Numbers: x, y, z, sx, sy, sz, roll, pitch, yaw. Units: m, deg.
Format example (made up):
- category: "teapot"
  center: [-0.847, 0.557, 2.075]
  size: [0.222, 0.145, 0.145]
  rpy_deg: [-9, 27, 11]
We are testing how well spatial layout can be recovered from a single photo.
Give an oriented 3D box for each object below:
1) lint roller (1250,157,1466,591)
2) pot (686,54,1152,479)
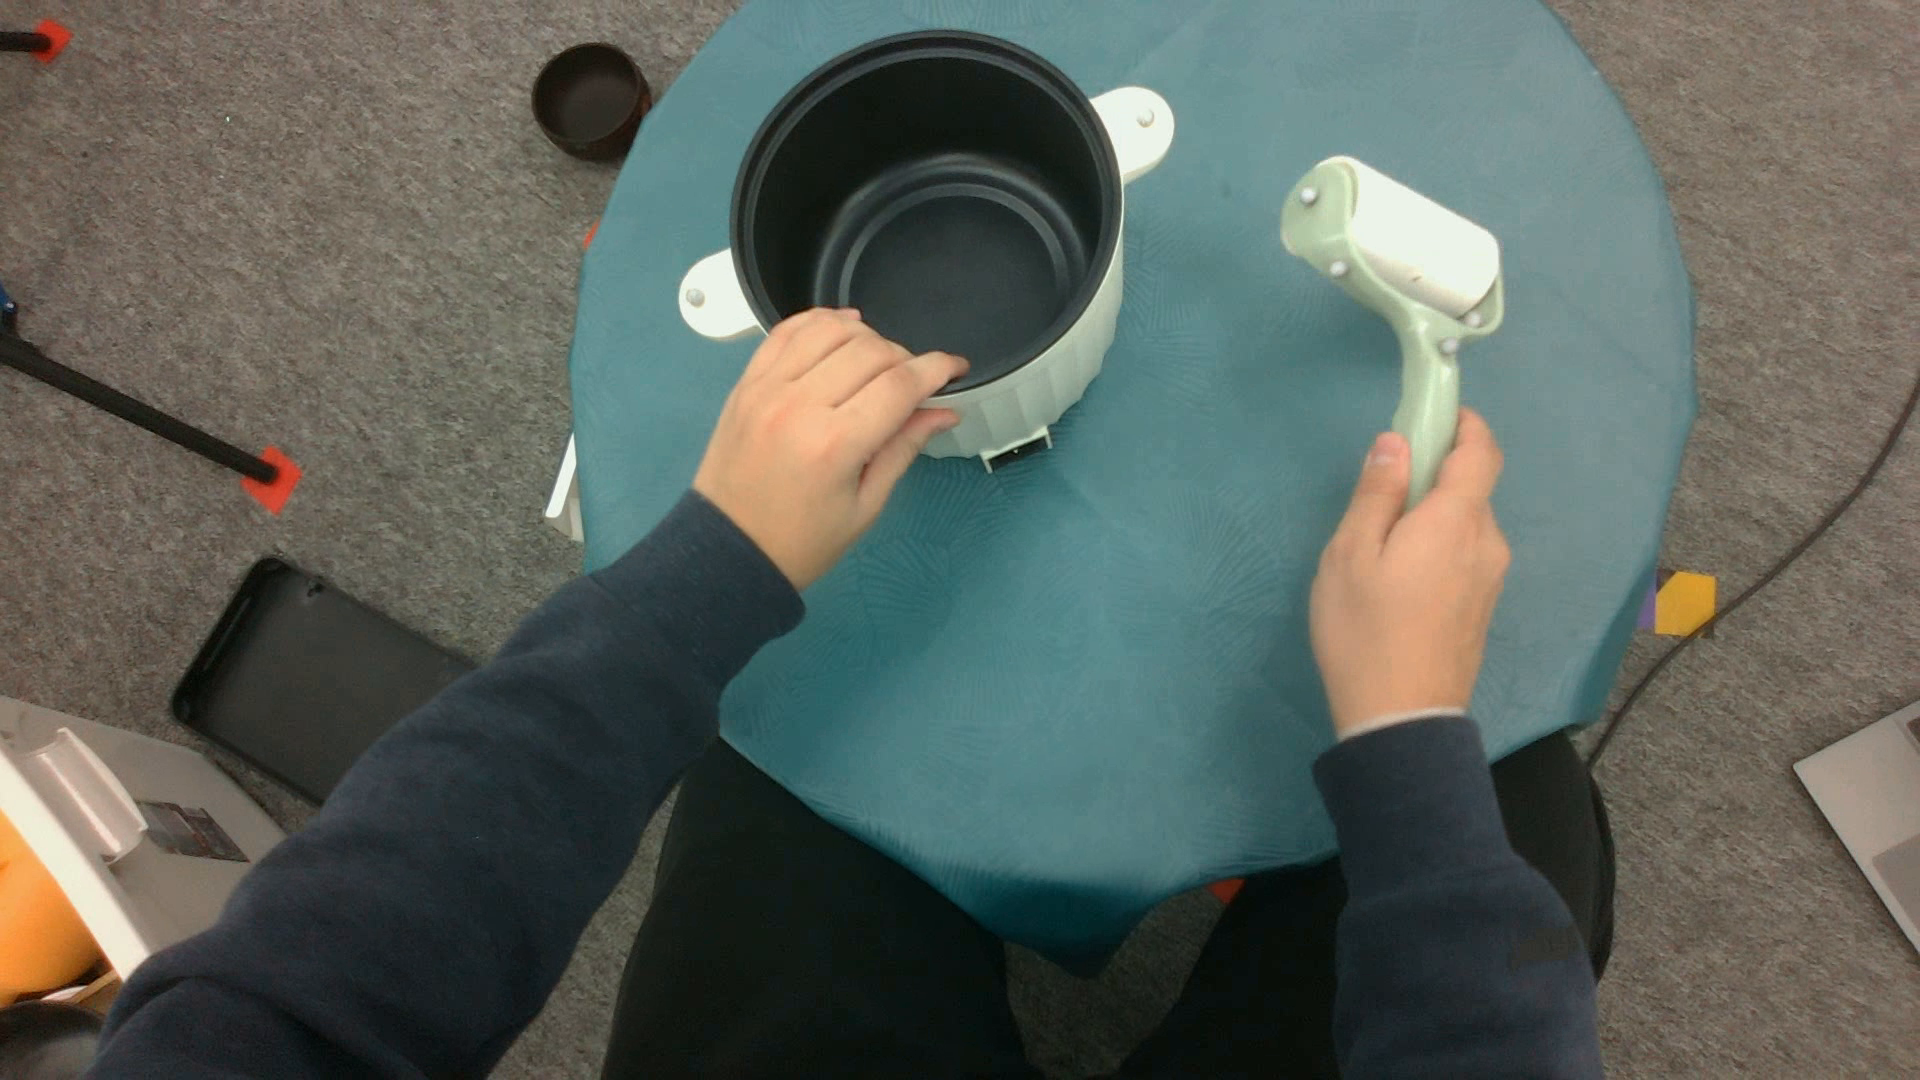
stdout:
- category: "lint roller"
  center: [0.191, -0.075, 0.636]
  size: [0.048, 0.117, 0.198]
  rpy_deg: [-24, 61, 49]
- category: "pot"
  center: [-0.014, -0.134, 0.703]
  size: [0.240, 0.142, 0.191]
  rpy_deg: [-26, 76, 1]
